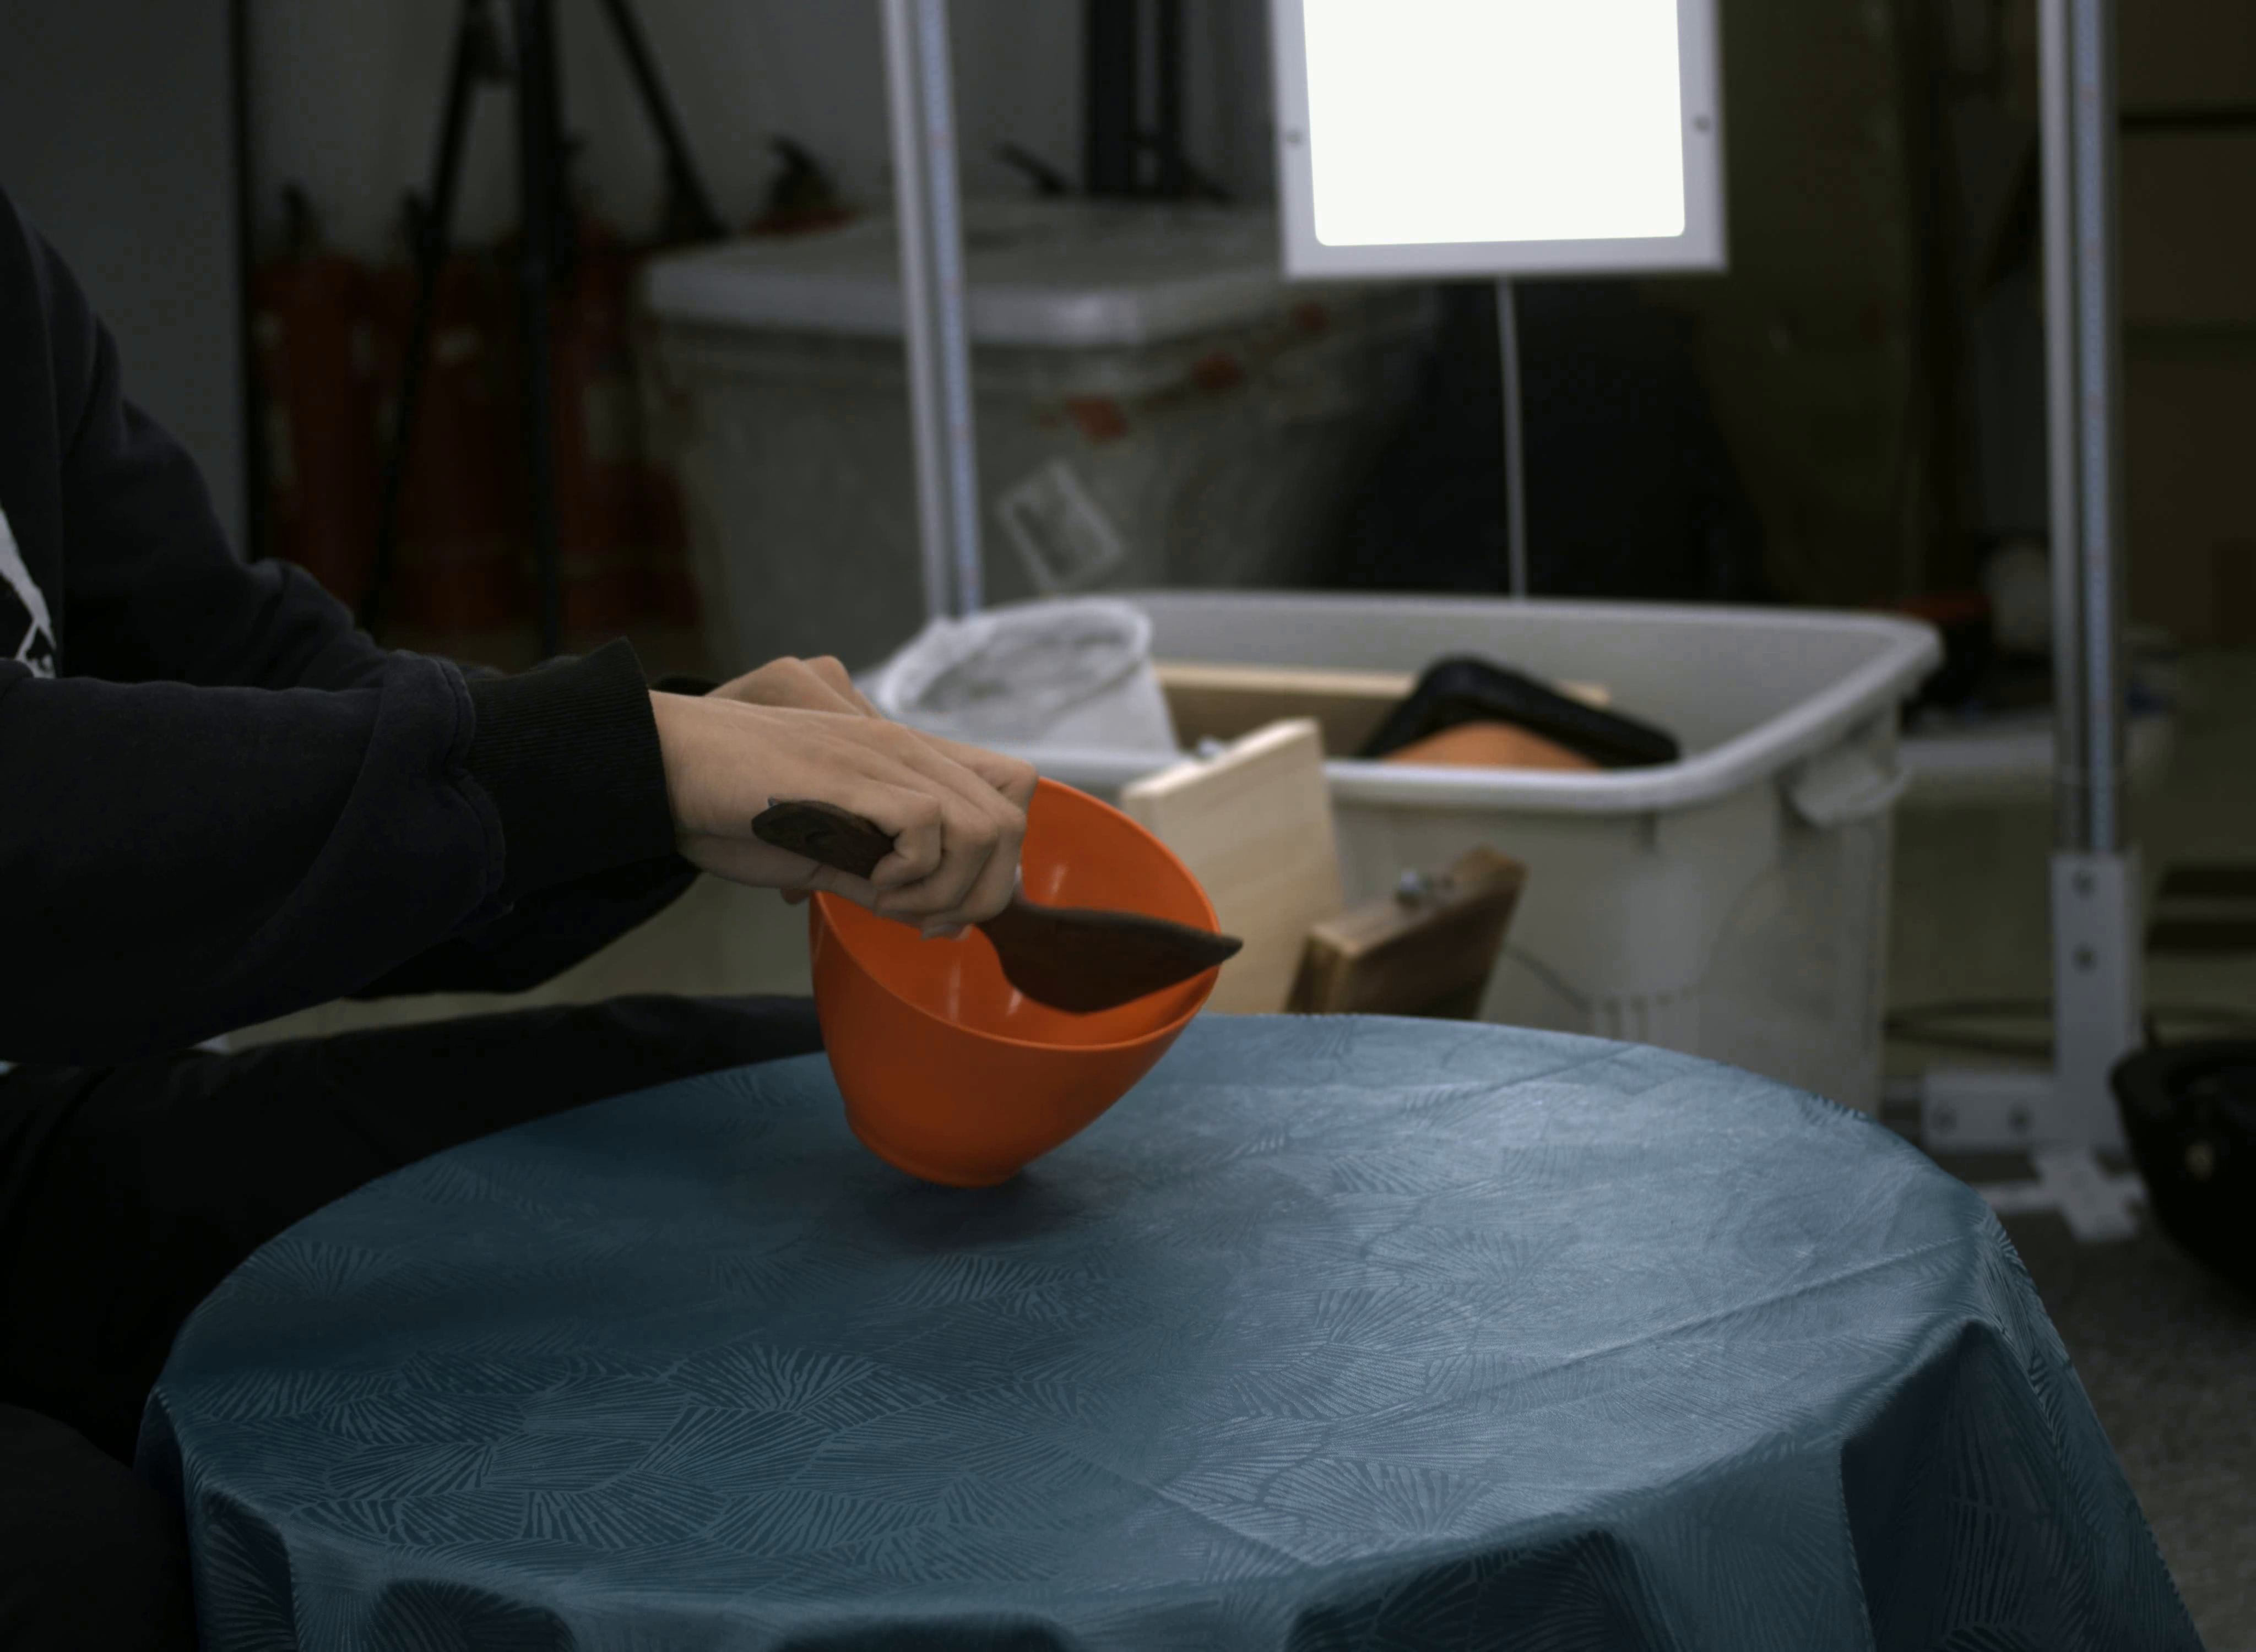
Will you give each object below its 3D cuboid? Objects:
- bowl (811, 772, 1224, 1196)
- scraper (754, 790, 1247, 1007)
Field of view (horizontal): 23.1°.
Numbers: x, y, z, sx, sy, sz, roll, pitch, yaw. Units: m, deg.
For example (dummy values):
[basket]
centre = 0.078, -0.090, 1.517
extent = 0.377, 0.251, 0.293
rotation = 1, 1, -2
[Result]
[bowl]
centre = -0.049, 0.063, 1.923
extent = 0.146, 0.106, 0.147
rotation = 14, 27, -9
[scraper]
centre = -0.047, 0.023, 1.844
extent = 0.077, 0.011, 0.207
rotation = -26, -33, 33
